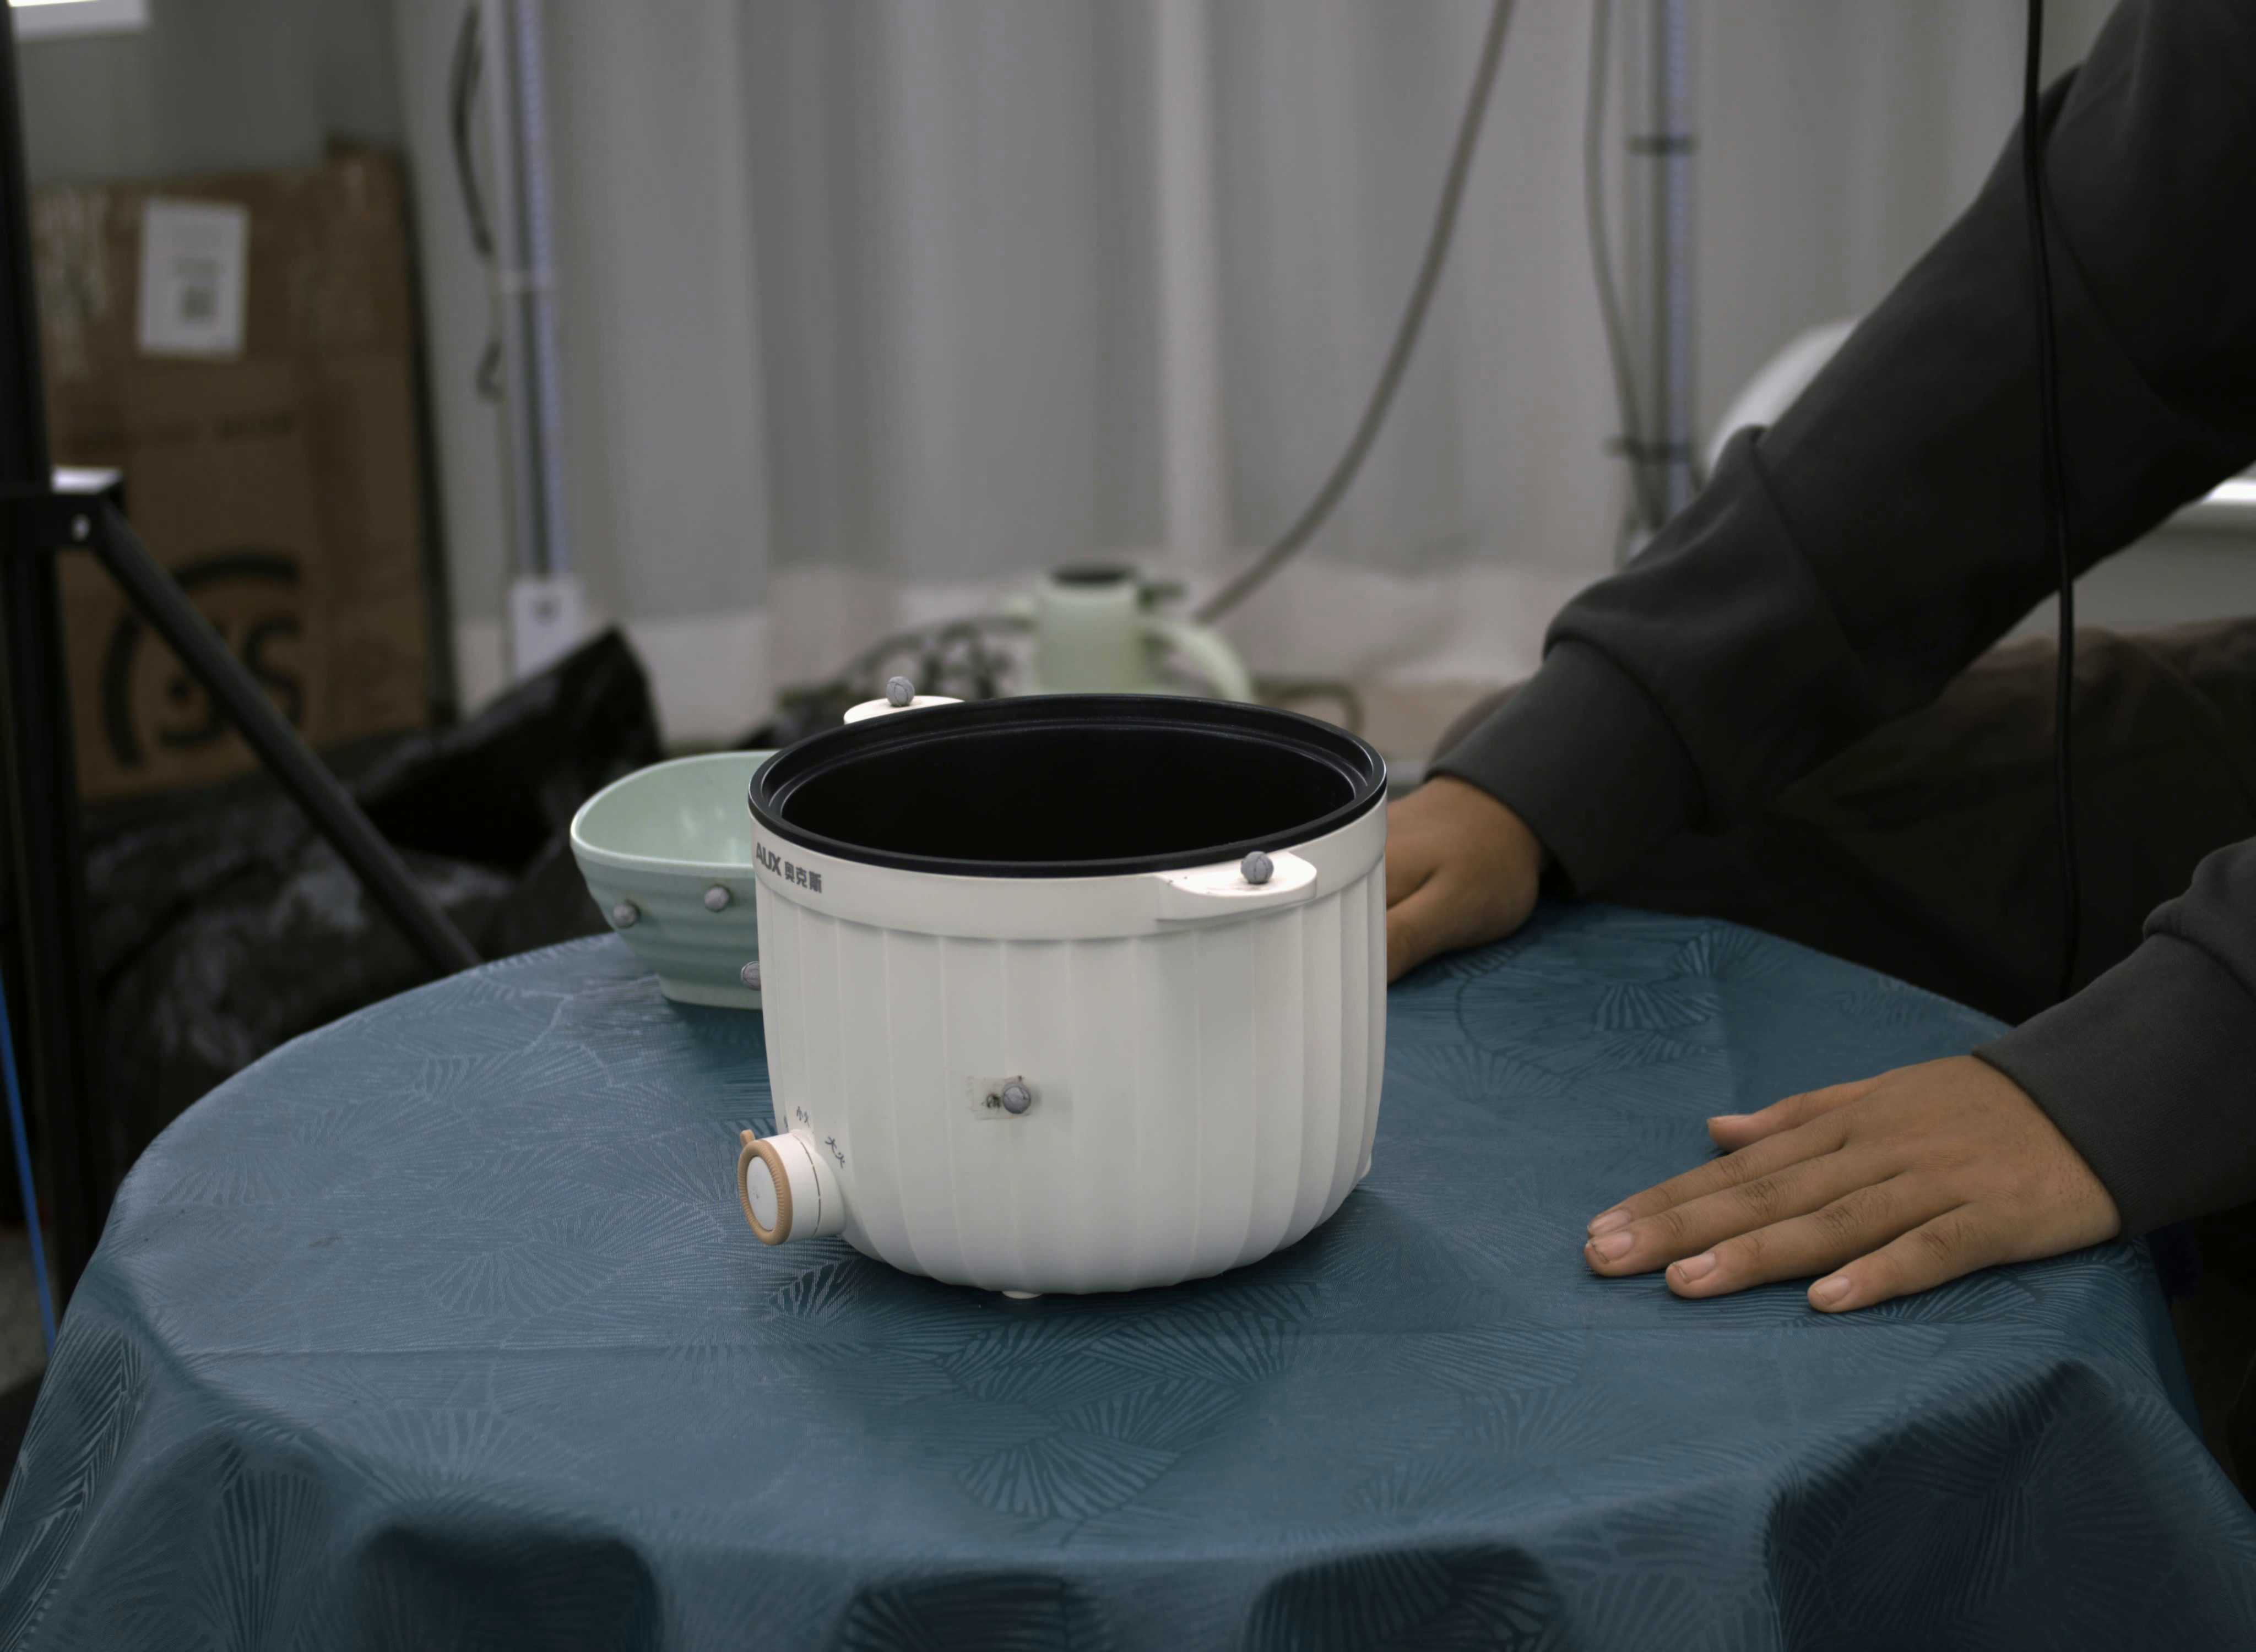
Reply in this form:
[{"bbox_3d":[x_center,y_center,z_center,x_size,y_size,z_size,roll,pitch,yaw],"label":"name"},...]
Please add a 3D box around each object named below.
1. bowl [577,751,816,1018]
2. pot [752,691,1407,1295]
[{"bbox_3d":[-0.110,0.023,1.773,0.151,0.058,0.152,-3,17,0],"label":"bowl"},{"bbox_3d":[-0.016,0.049,1.510,0.186,0.143,0.245,-7,14,-28],"label":"pot"}]
